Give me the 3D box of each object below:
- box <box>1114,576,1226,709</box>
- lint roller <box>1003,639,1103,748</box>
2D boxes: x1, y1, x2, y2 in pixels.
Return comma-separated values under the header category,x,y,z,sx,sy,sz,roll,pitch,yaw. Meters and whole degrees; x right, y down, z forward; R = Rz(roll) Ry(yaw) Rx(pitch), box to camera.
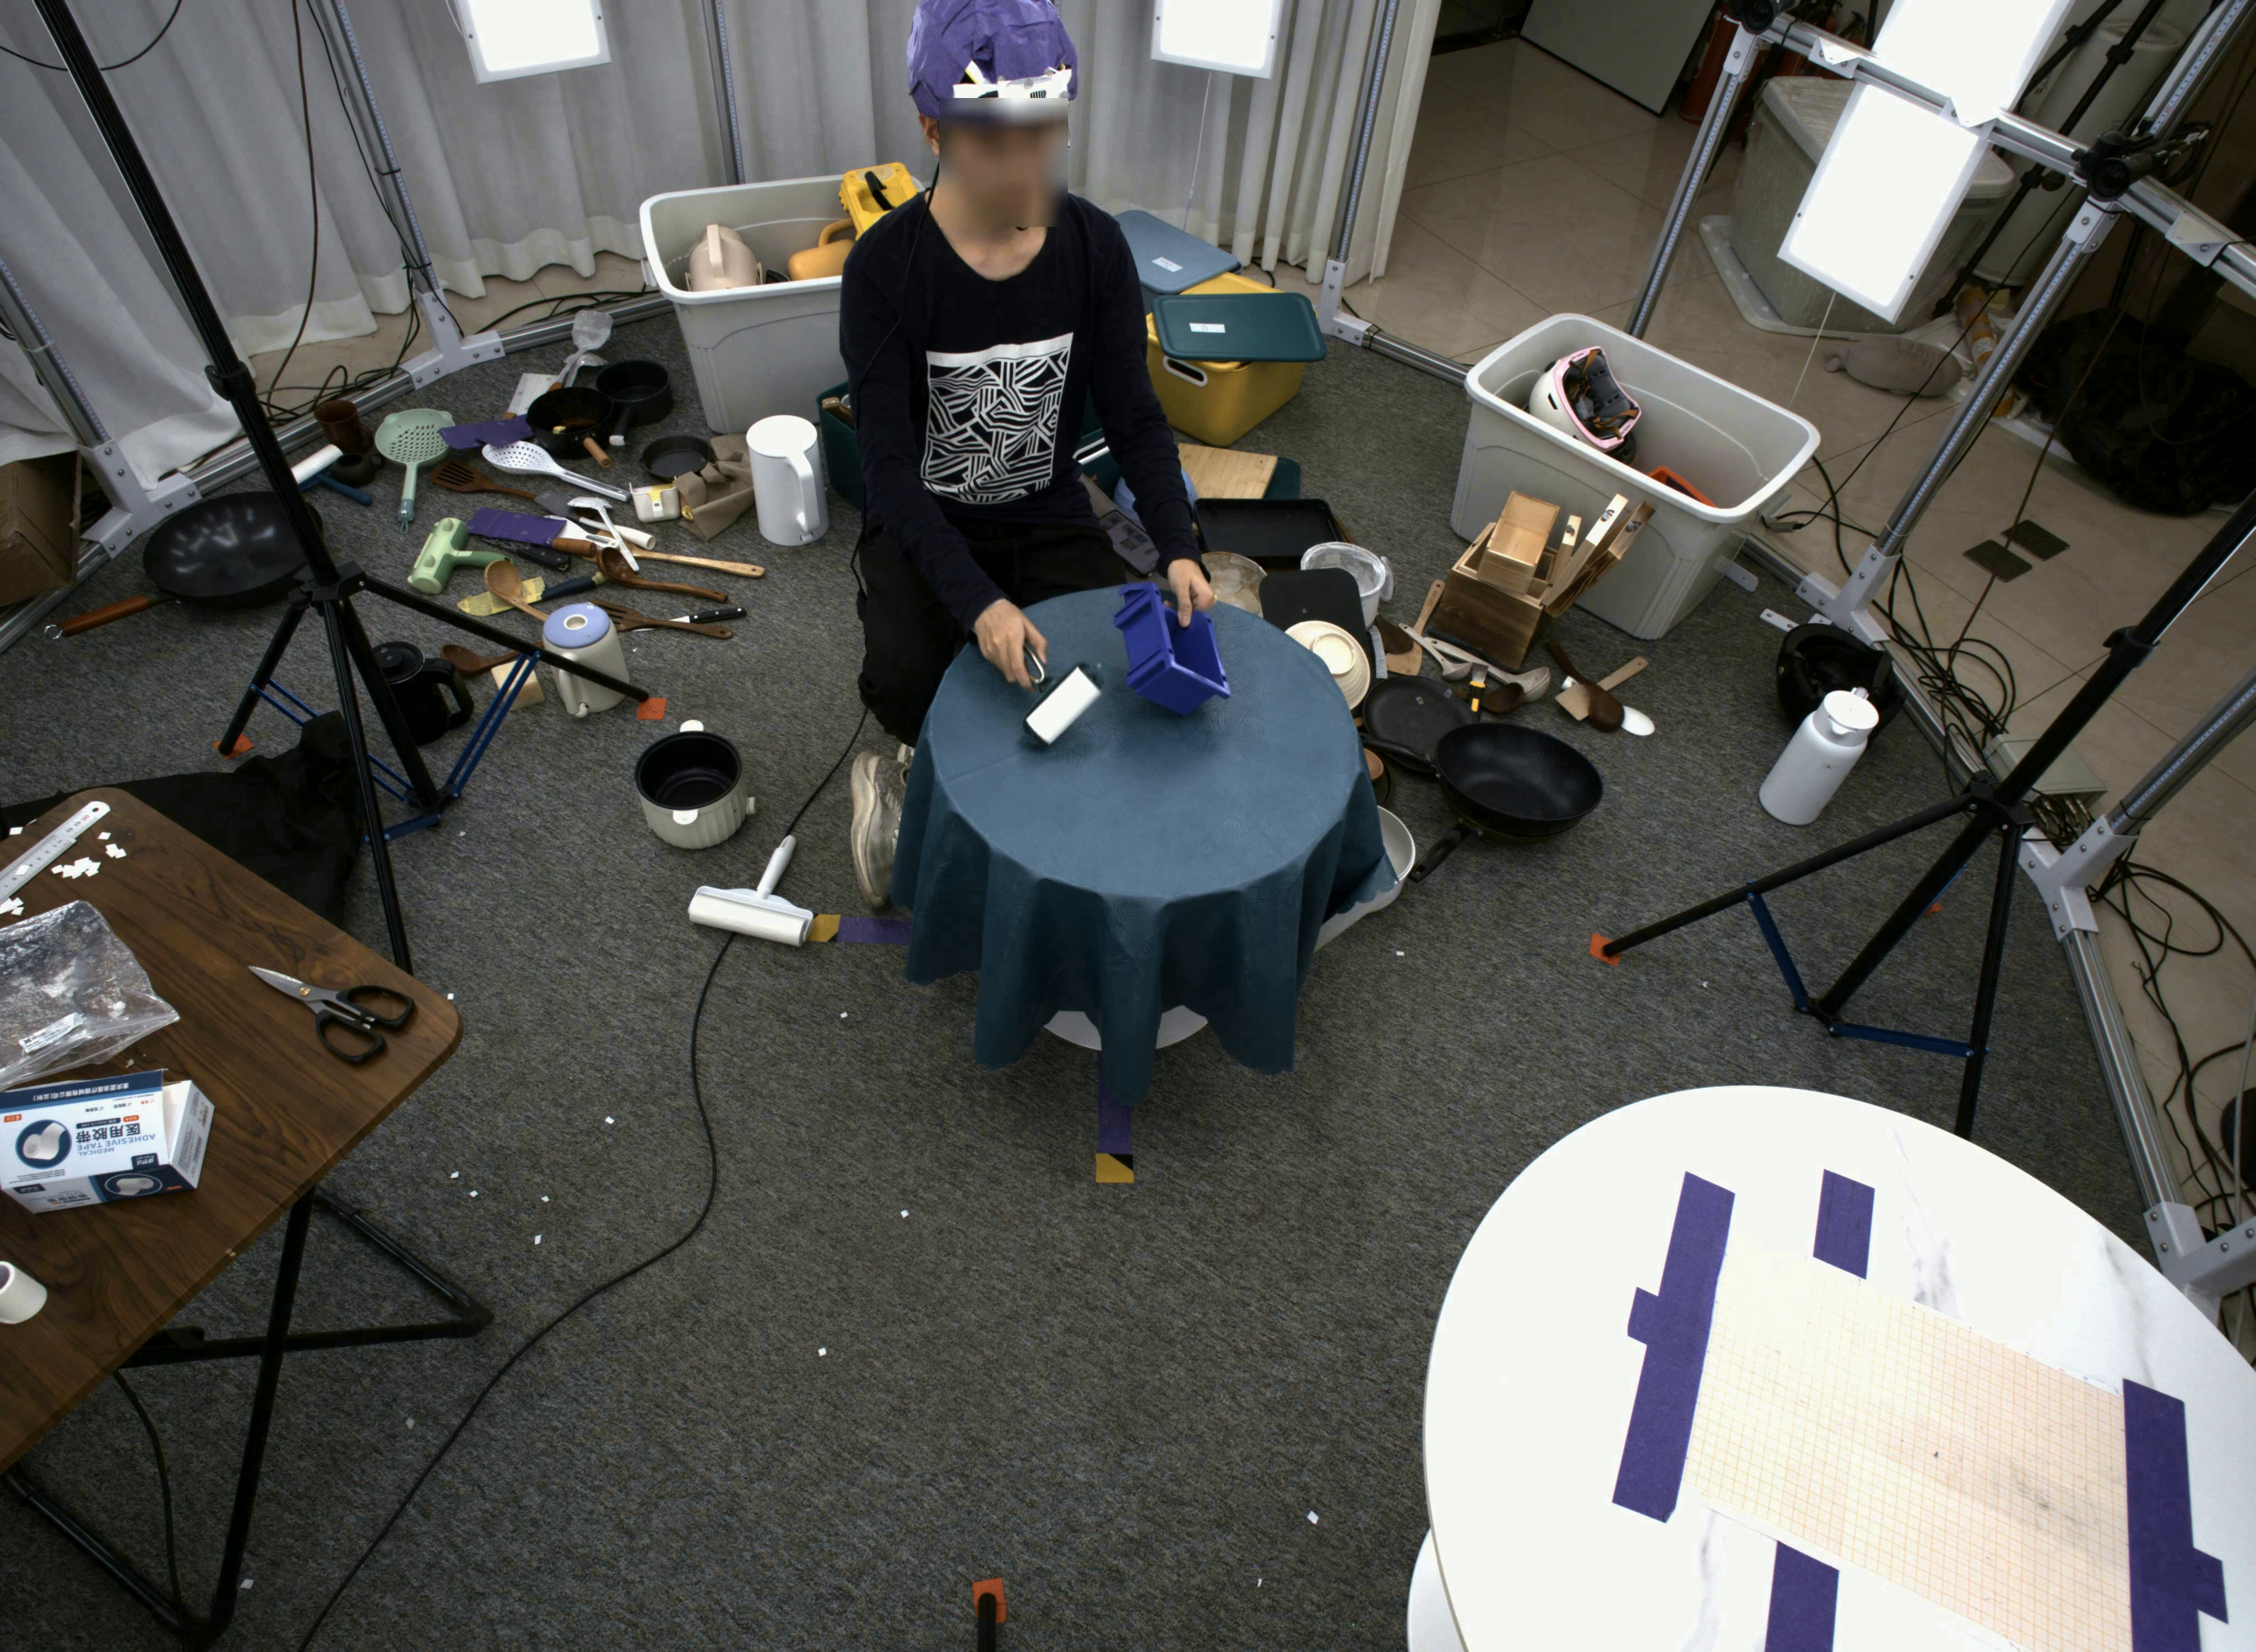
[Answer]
category,x,y,z,sx,sy,sz,roll,pitch,yaw
box,0.054,-0.260,1.792,0.123,0.081,0.183,21,49,-37
lint roller,-0.127,-0.204,1.767,0.134,0.047,0.183,-42,64,3
